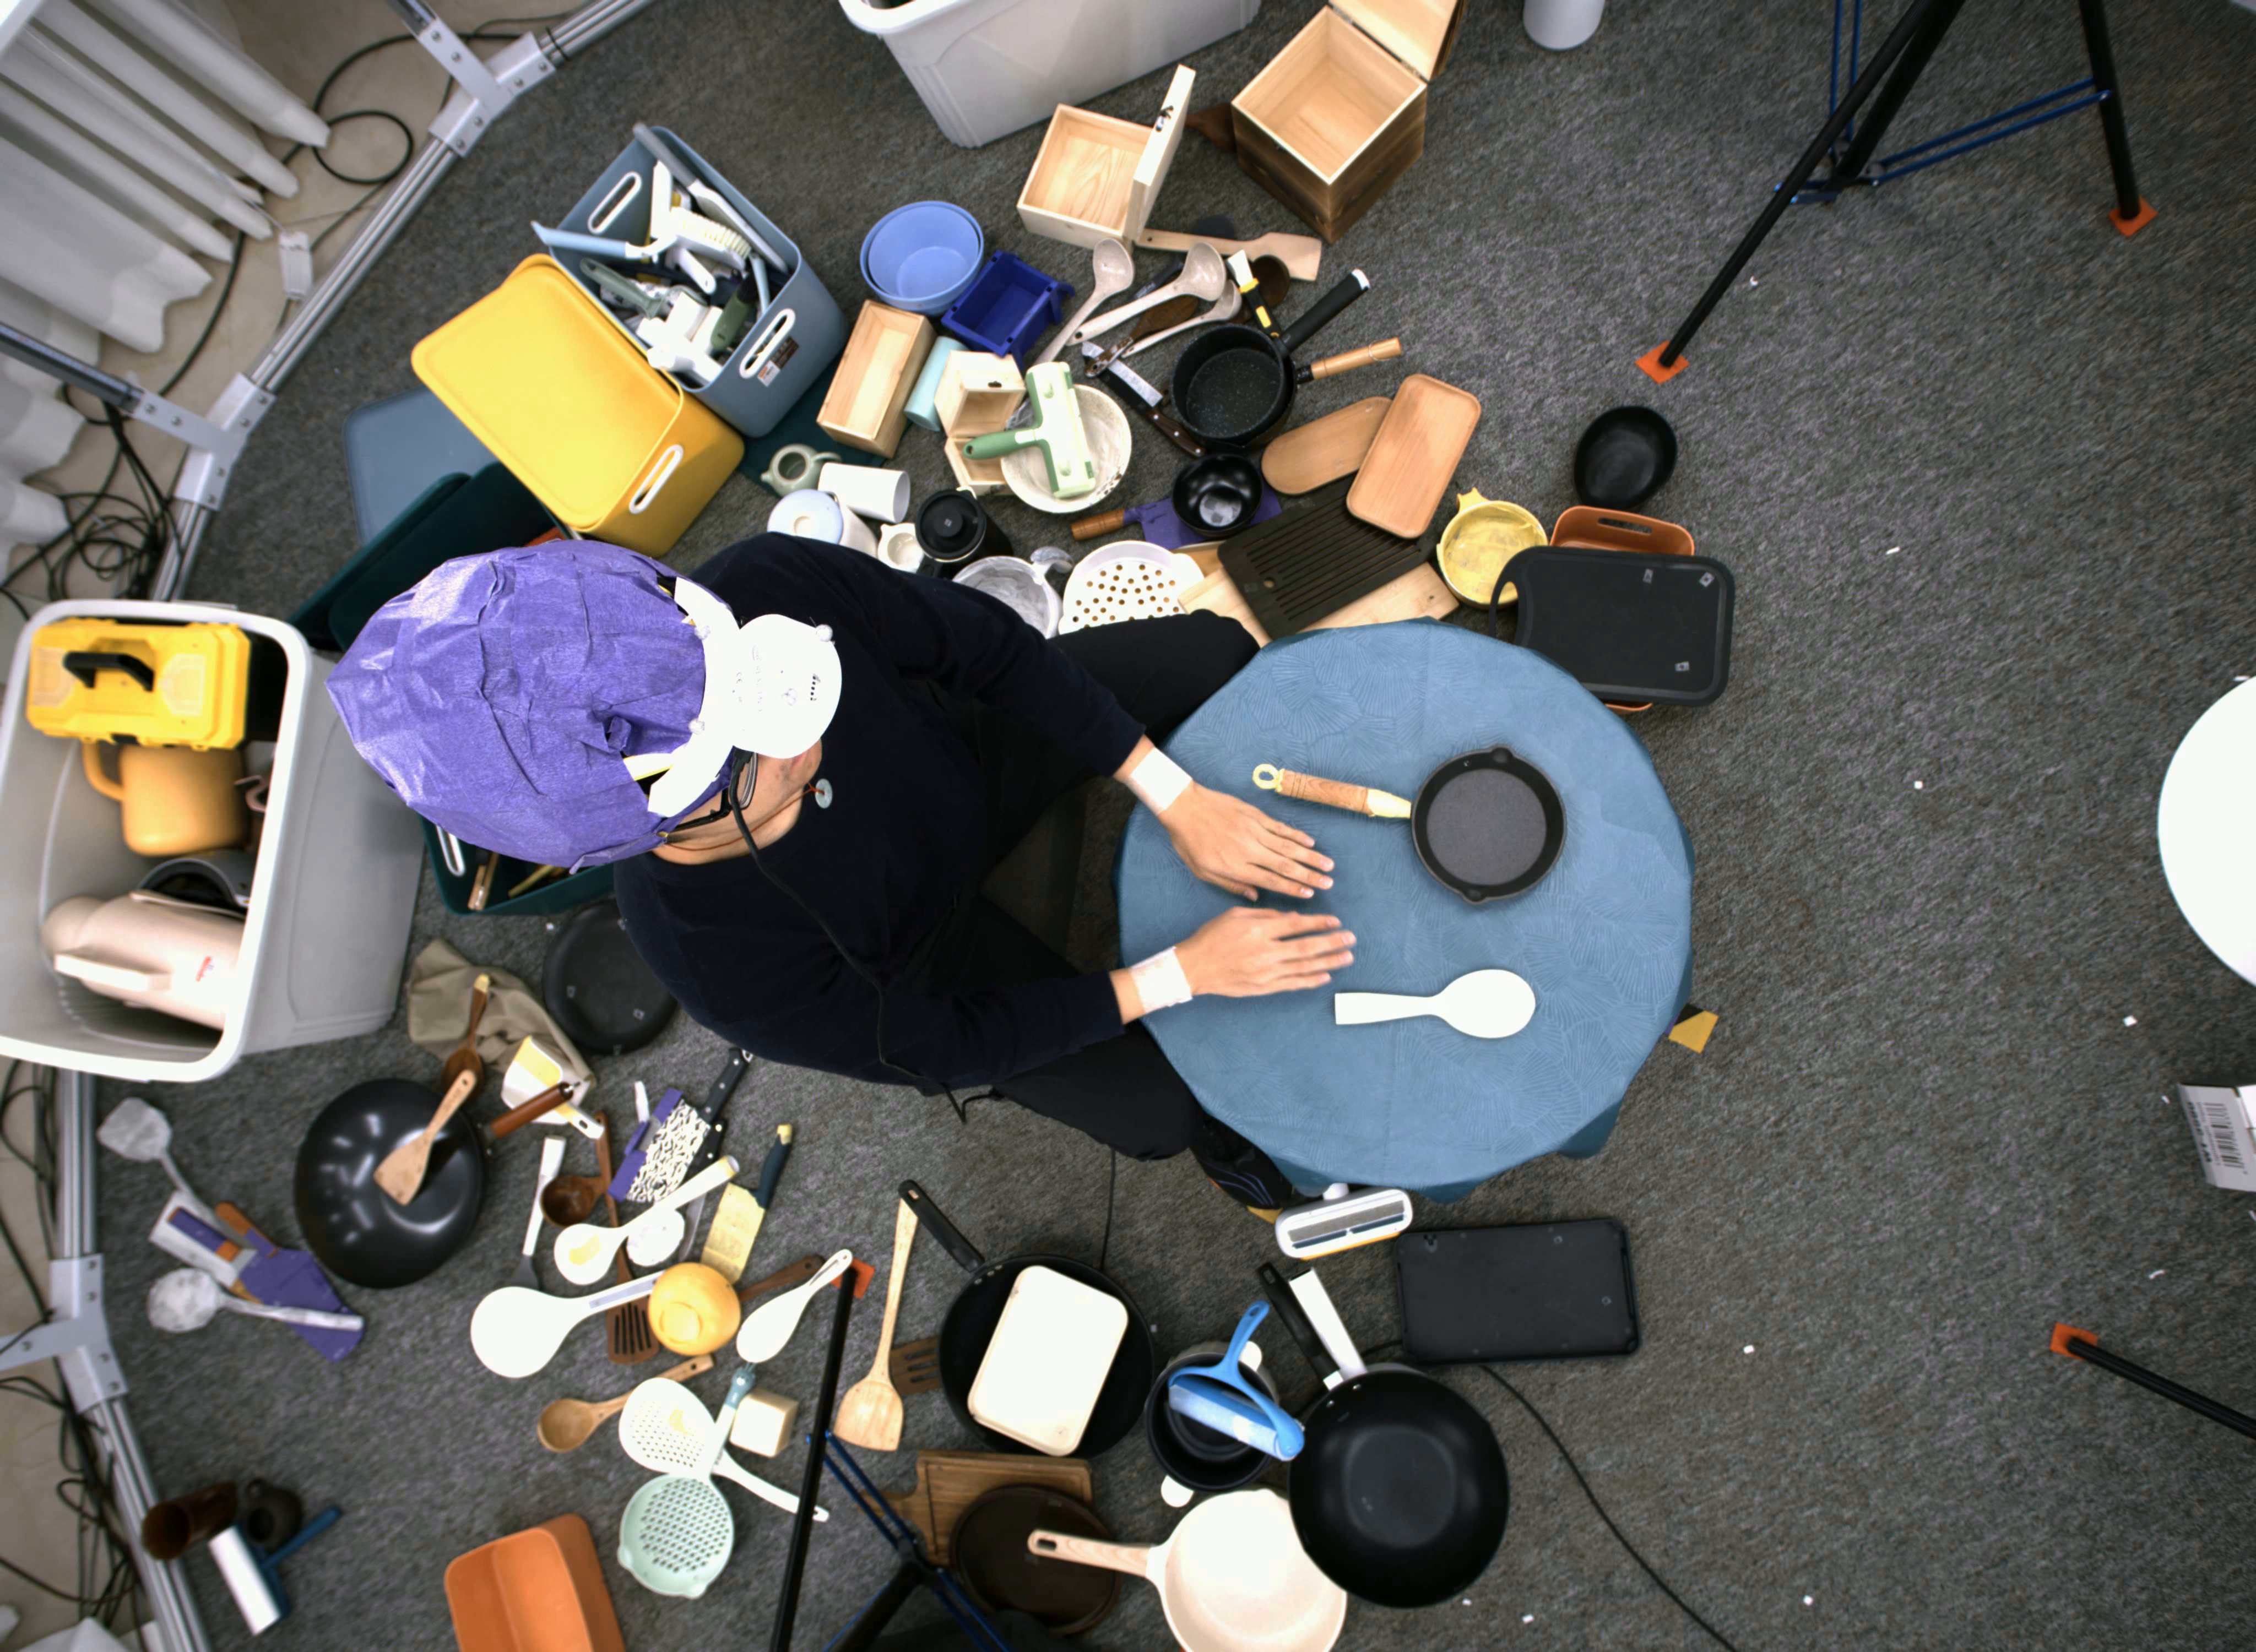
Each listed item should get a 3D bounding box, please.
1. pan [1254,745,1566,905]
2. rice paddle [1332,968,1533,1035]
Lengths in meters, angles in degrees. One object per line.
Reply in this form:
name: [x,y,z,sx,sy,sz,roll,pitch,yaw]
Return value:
pan: [0.291,-0.022,1.436,0.324,0.049,0.168,14,89,9]
rice paddle: [0.315,0.183,1.430,0.206,0.029,0.068,-4,89,11]
